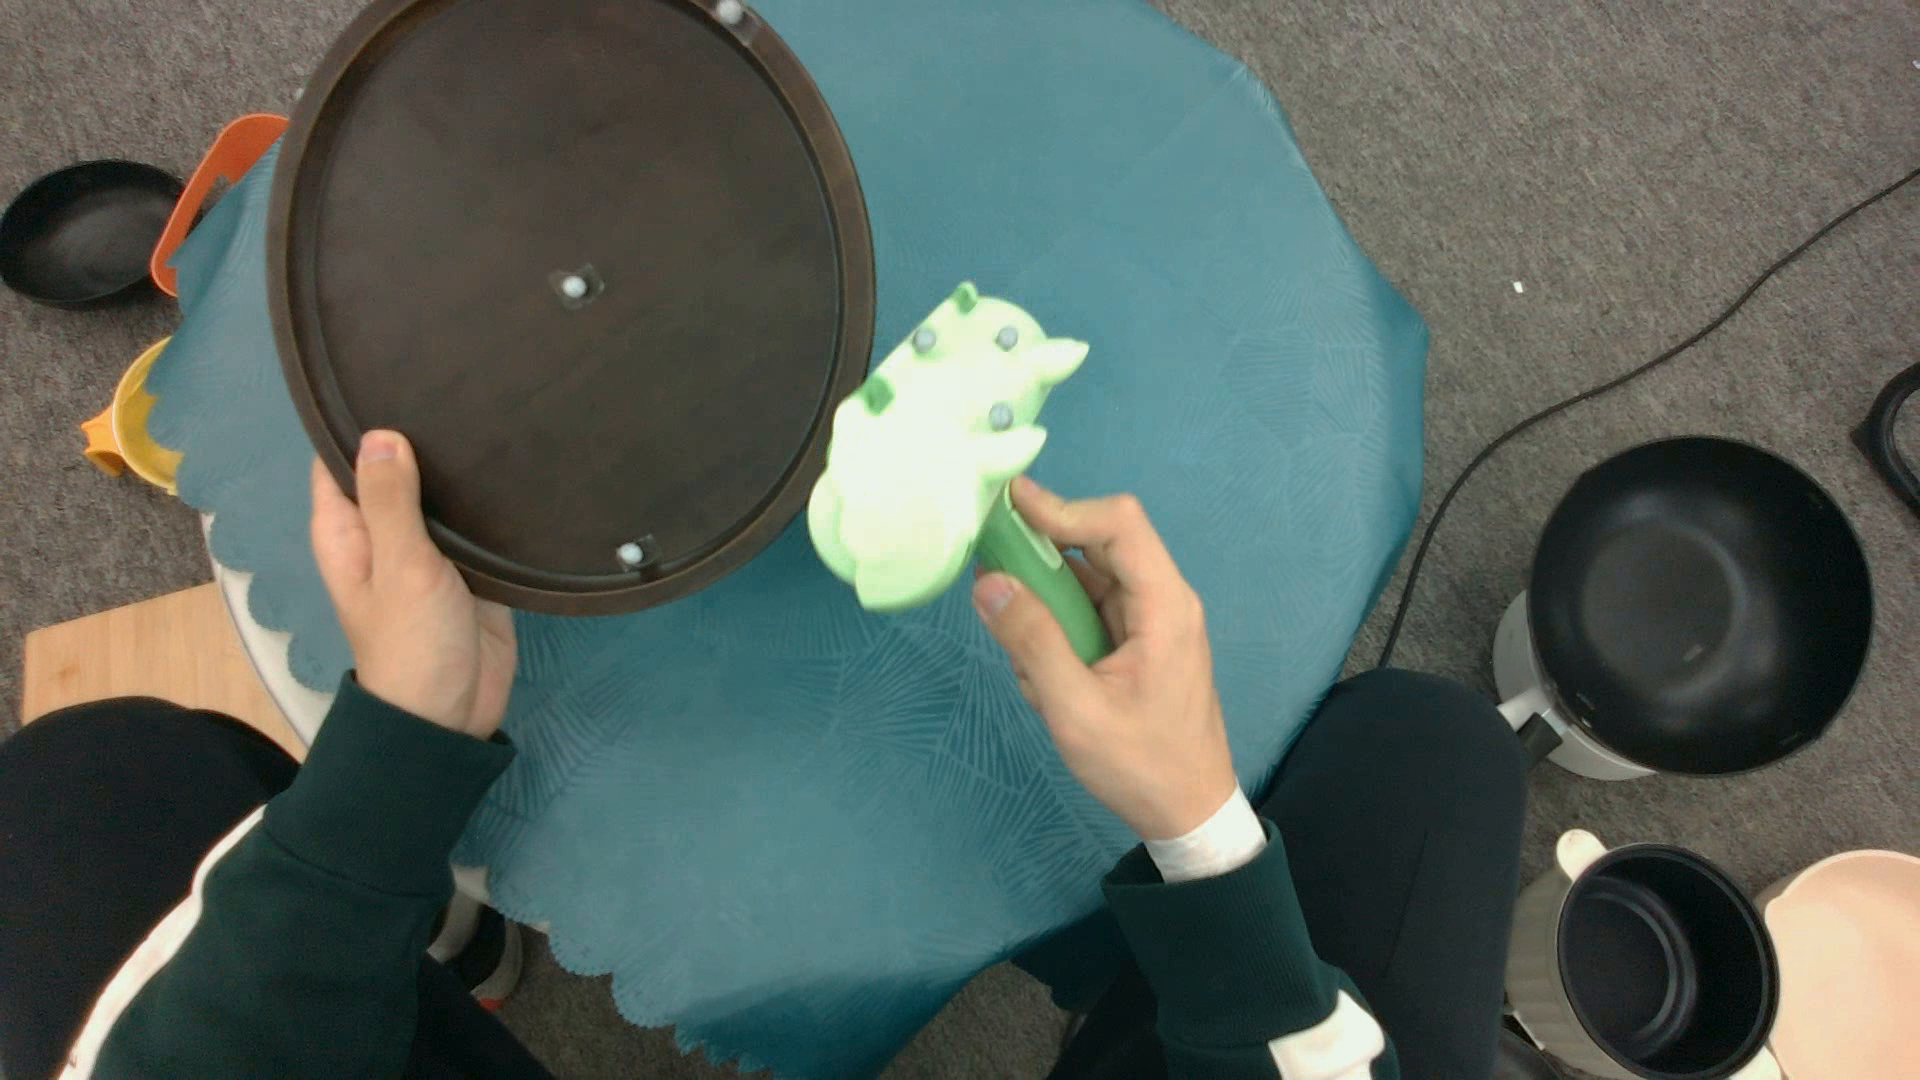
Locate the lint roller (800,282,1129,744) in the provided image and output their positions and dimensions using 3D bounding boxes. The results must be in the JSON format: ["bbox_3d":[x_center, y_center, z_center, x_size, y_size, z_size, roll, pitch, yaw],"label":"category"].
[{"bbox_3d":[0.029,-0.005,0.523,0.082,0.199,0.183,-36,103,22],"label":"lint roller"}]

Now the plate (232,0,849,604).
[{"bbox_3d":[-0.161,-0.100,0.519,0.254,0.029,0.254,2,100,13],"label":"plate"}]
